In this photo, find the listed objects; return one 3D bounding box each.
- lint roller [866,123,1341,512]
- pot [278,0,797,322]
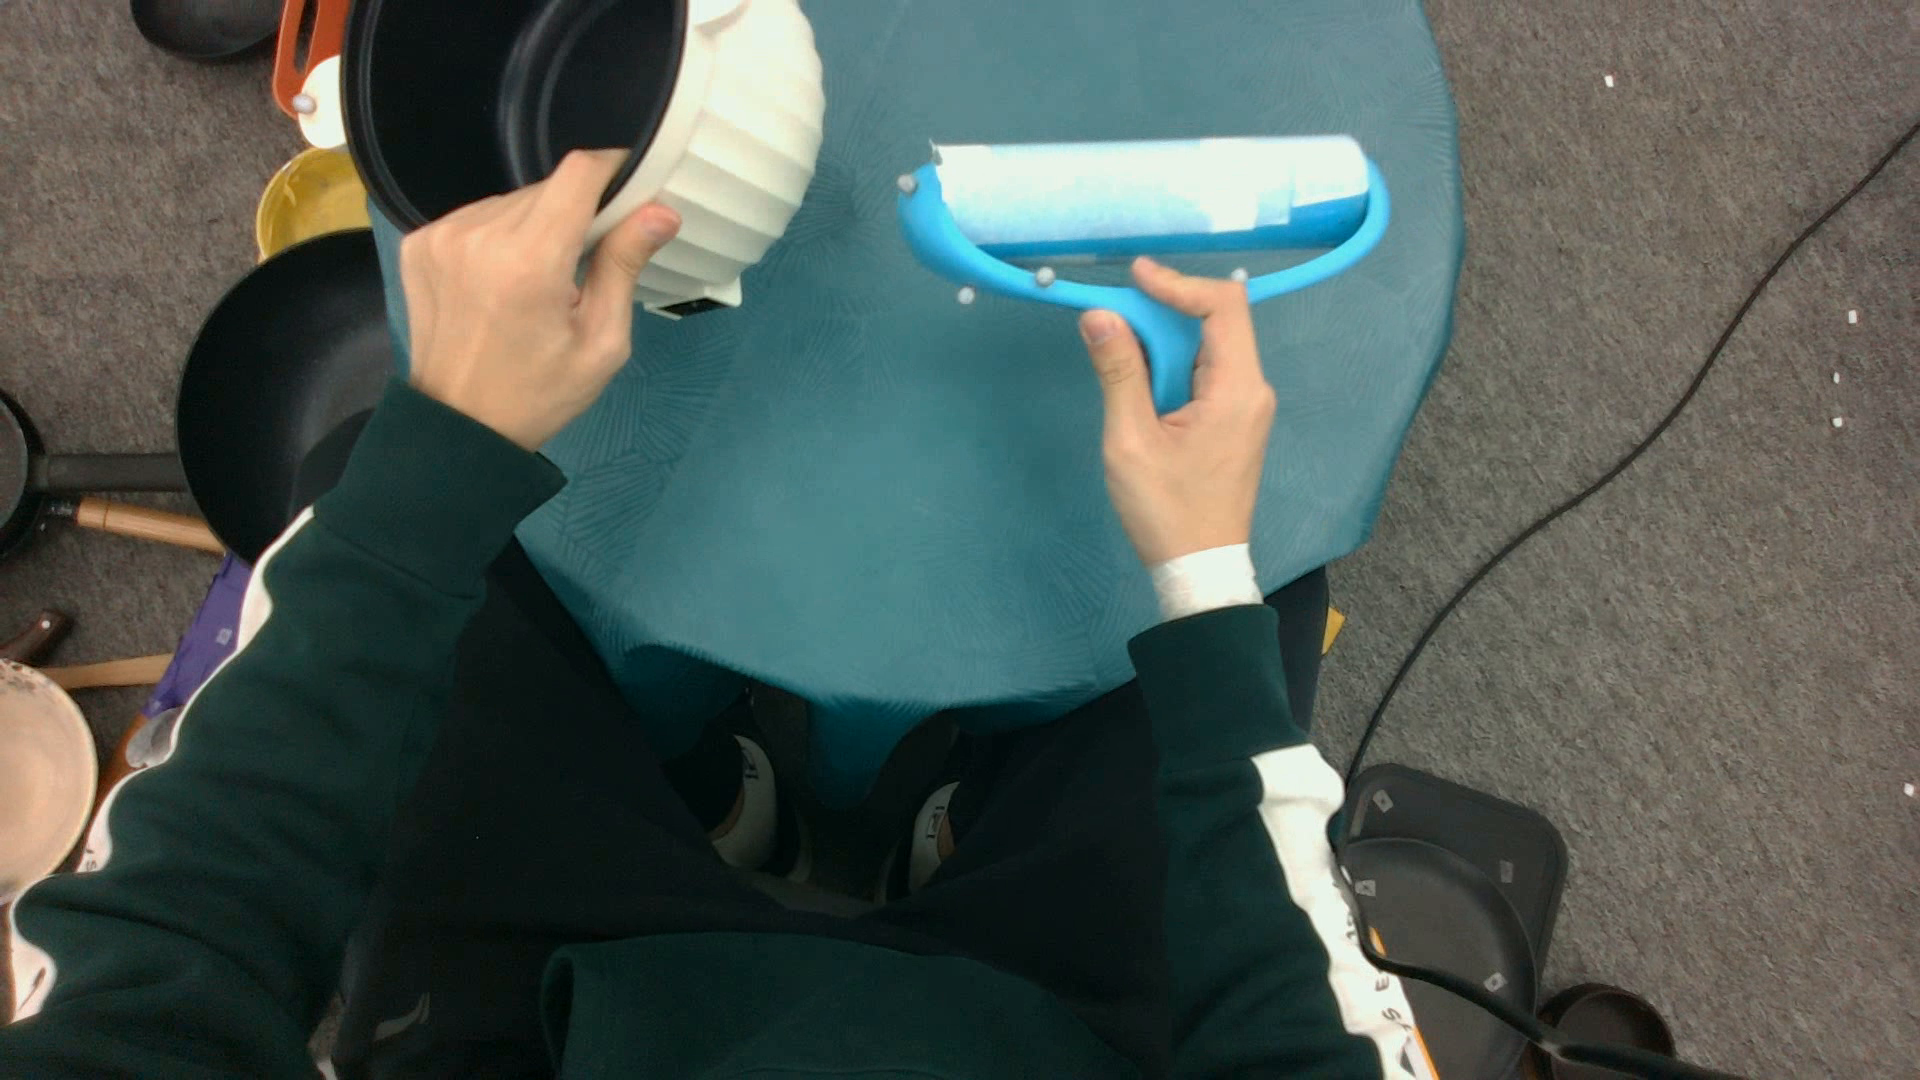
[{"bbox_3d":[0.079,-0.105,0.649,0.229,0.068,0.180,-9,88,-12],"label":"lint roller"},{"bbox_3d":[-0.173,-0.204,0.628,0.240,0.143,0.190,-9,86,20],"label":"pot"}]
